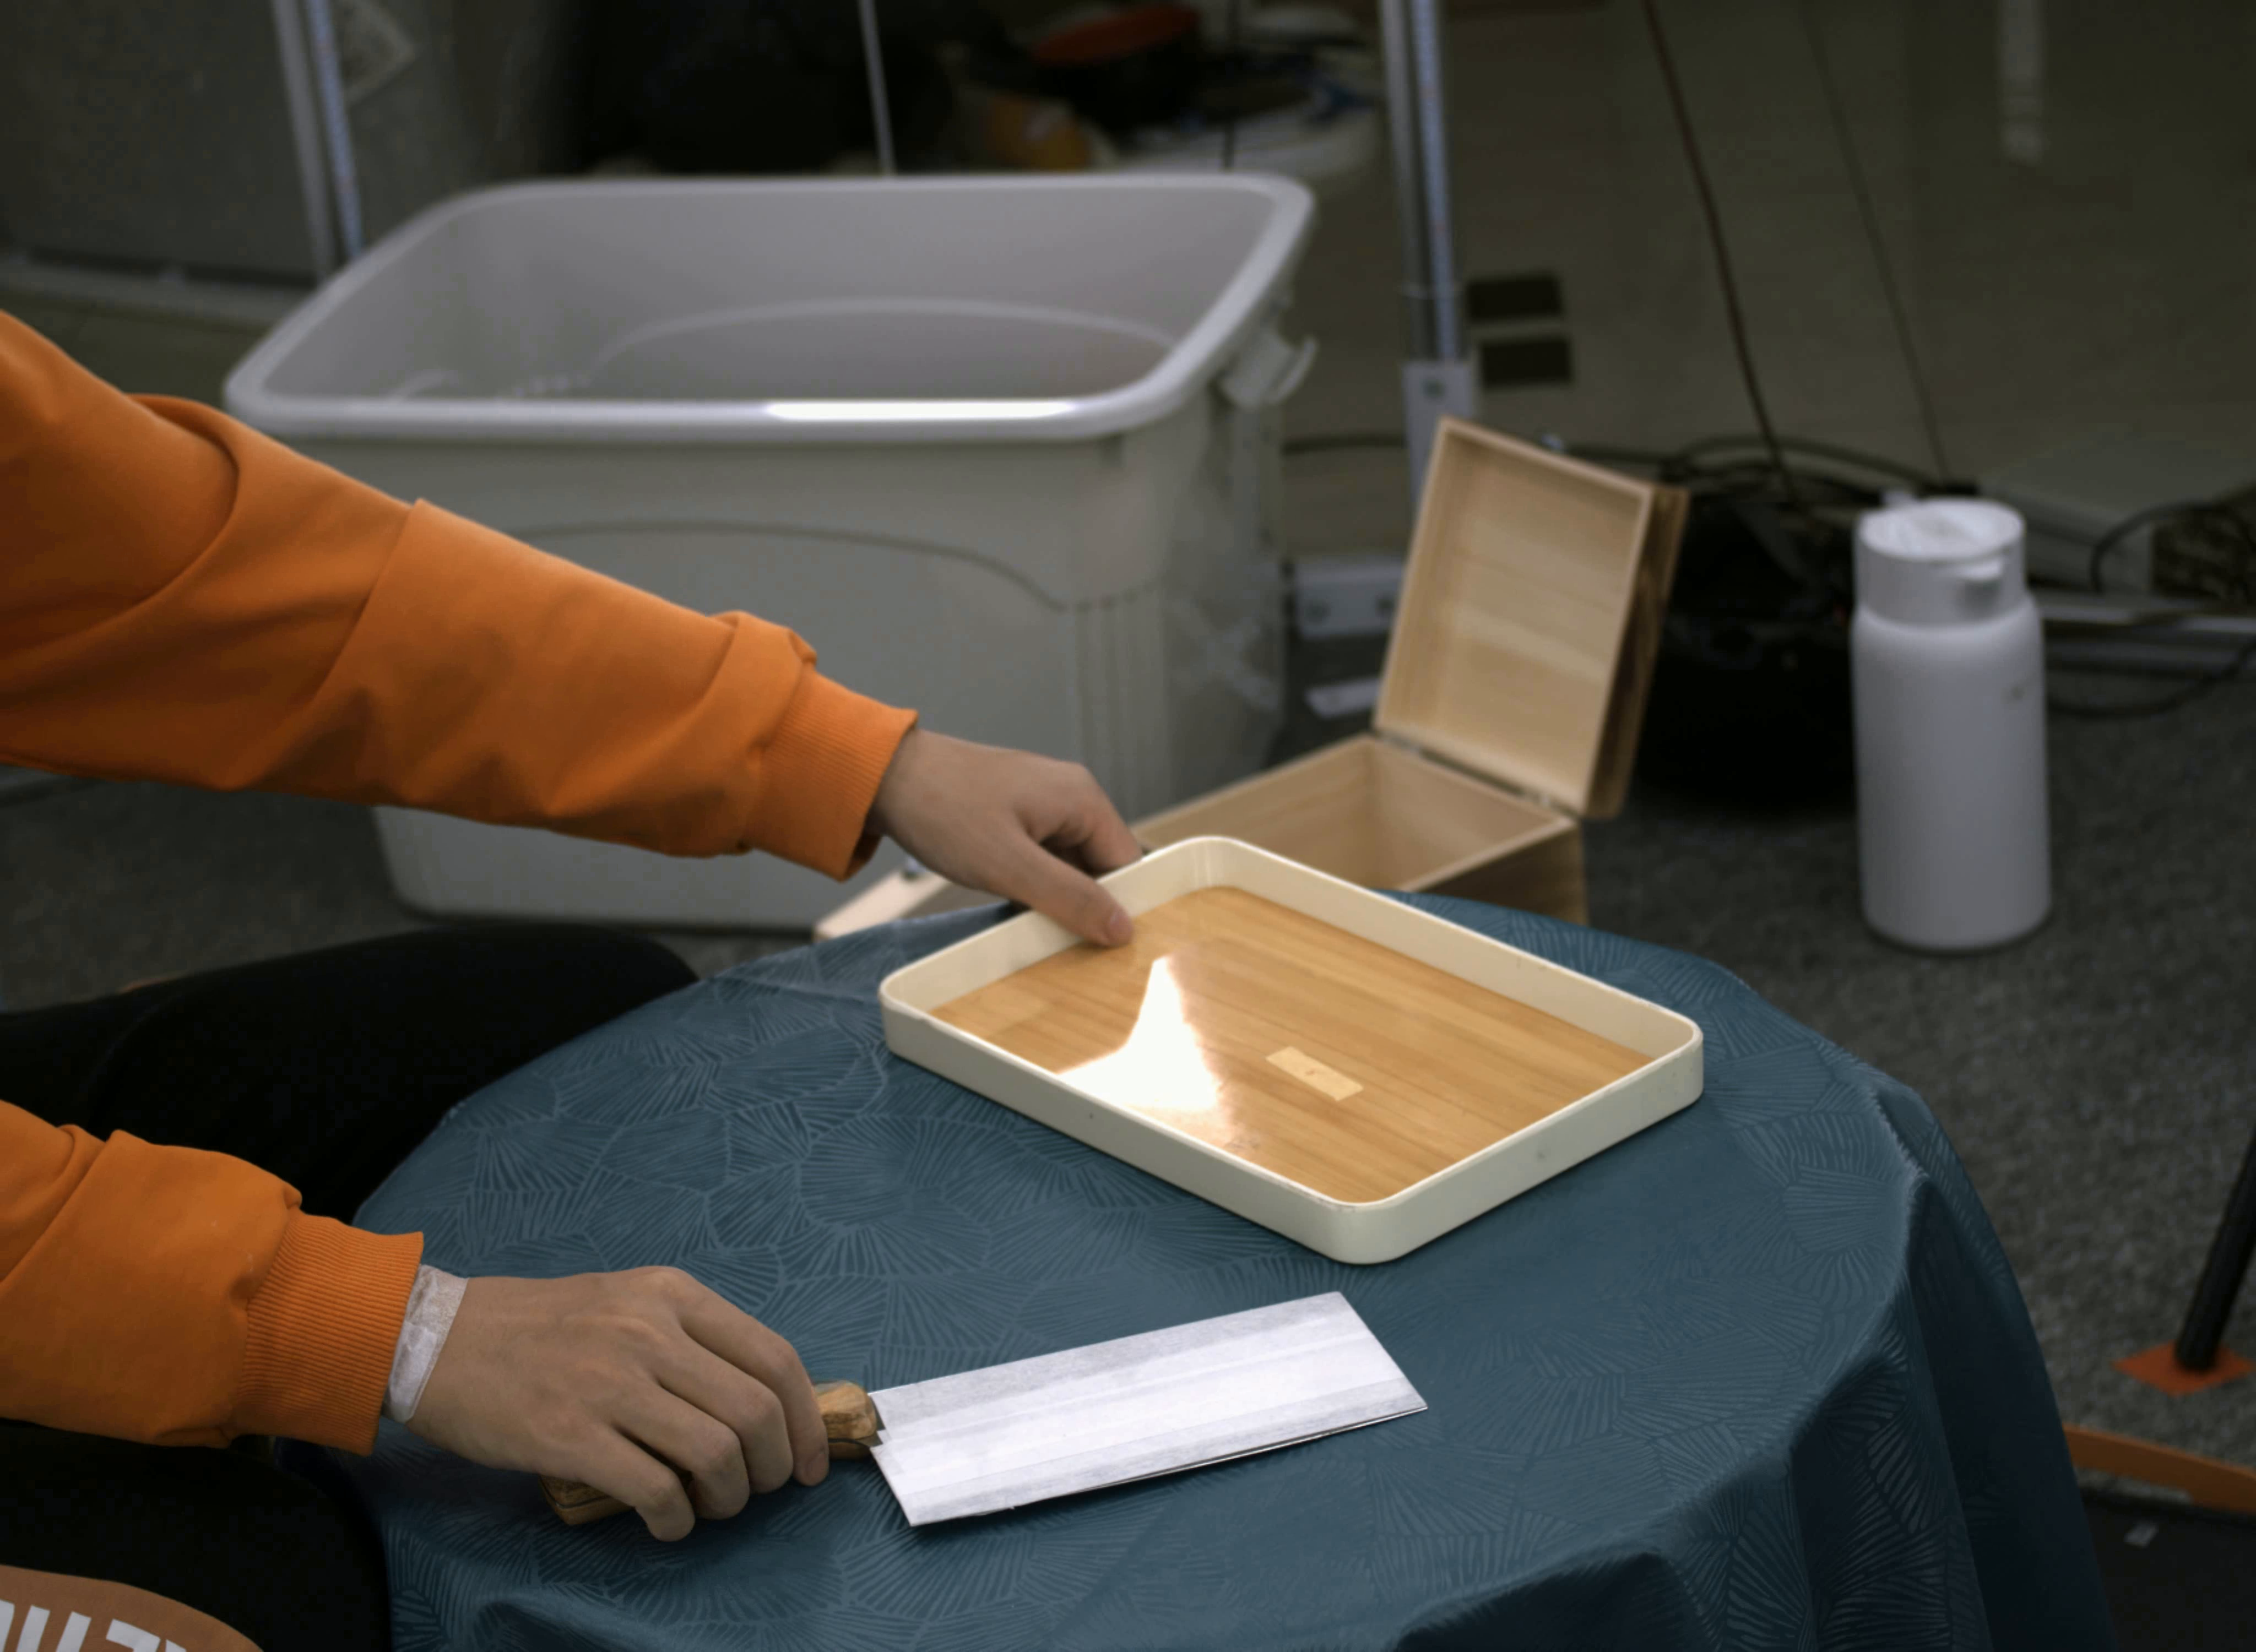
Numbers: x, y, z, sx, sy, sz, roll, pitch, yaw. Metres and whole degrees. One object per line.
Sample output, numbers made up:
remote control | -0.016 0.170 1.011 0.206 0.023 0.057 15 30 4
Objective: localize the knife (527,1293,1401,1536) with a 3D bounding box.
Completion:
knife | -0.054 0.213 1.983 0.305 0.021 0.091 -11 27 -15

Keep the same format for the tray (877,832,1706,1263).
tray | 0.061 0.082 2.220 0.190 0.028 0.297 -25 31 -34
